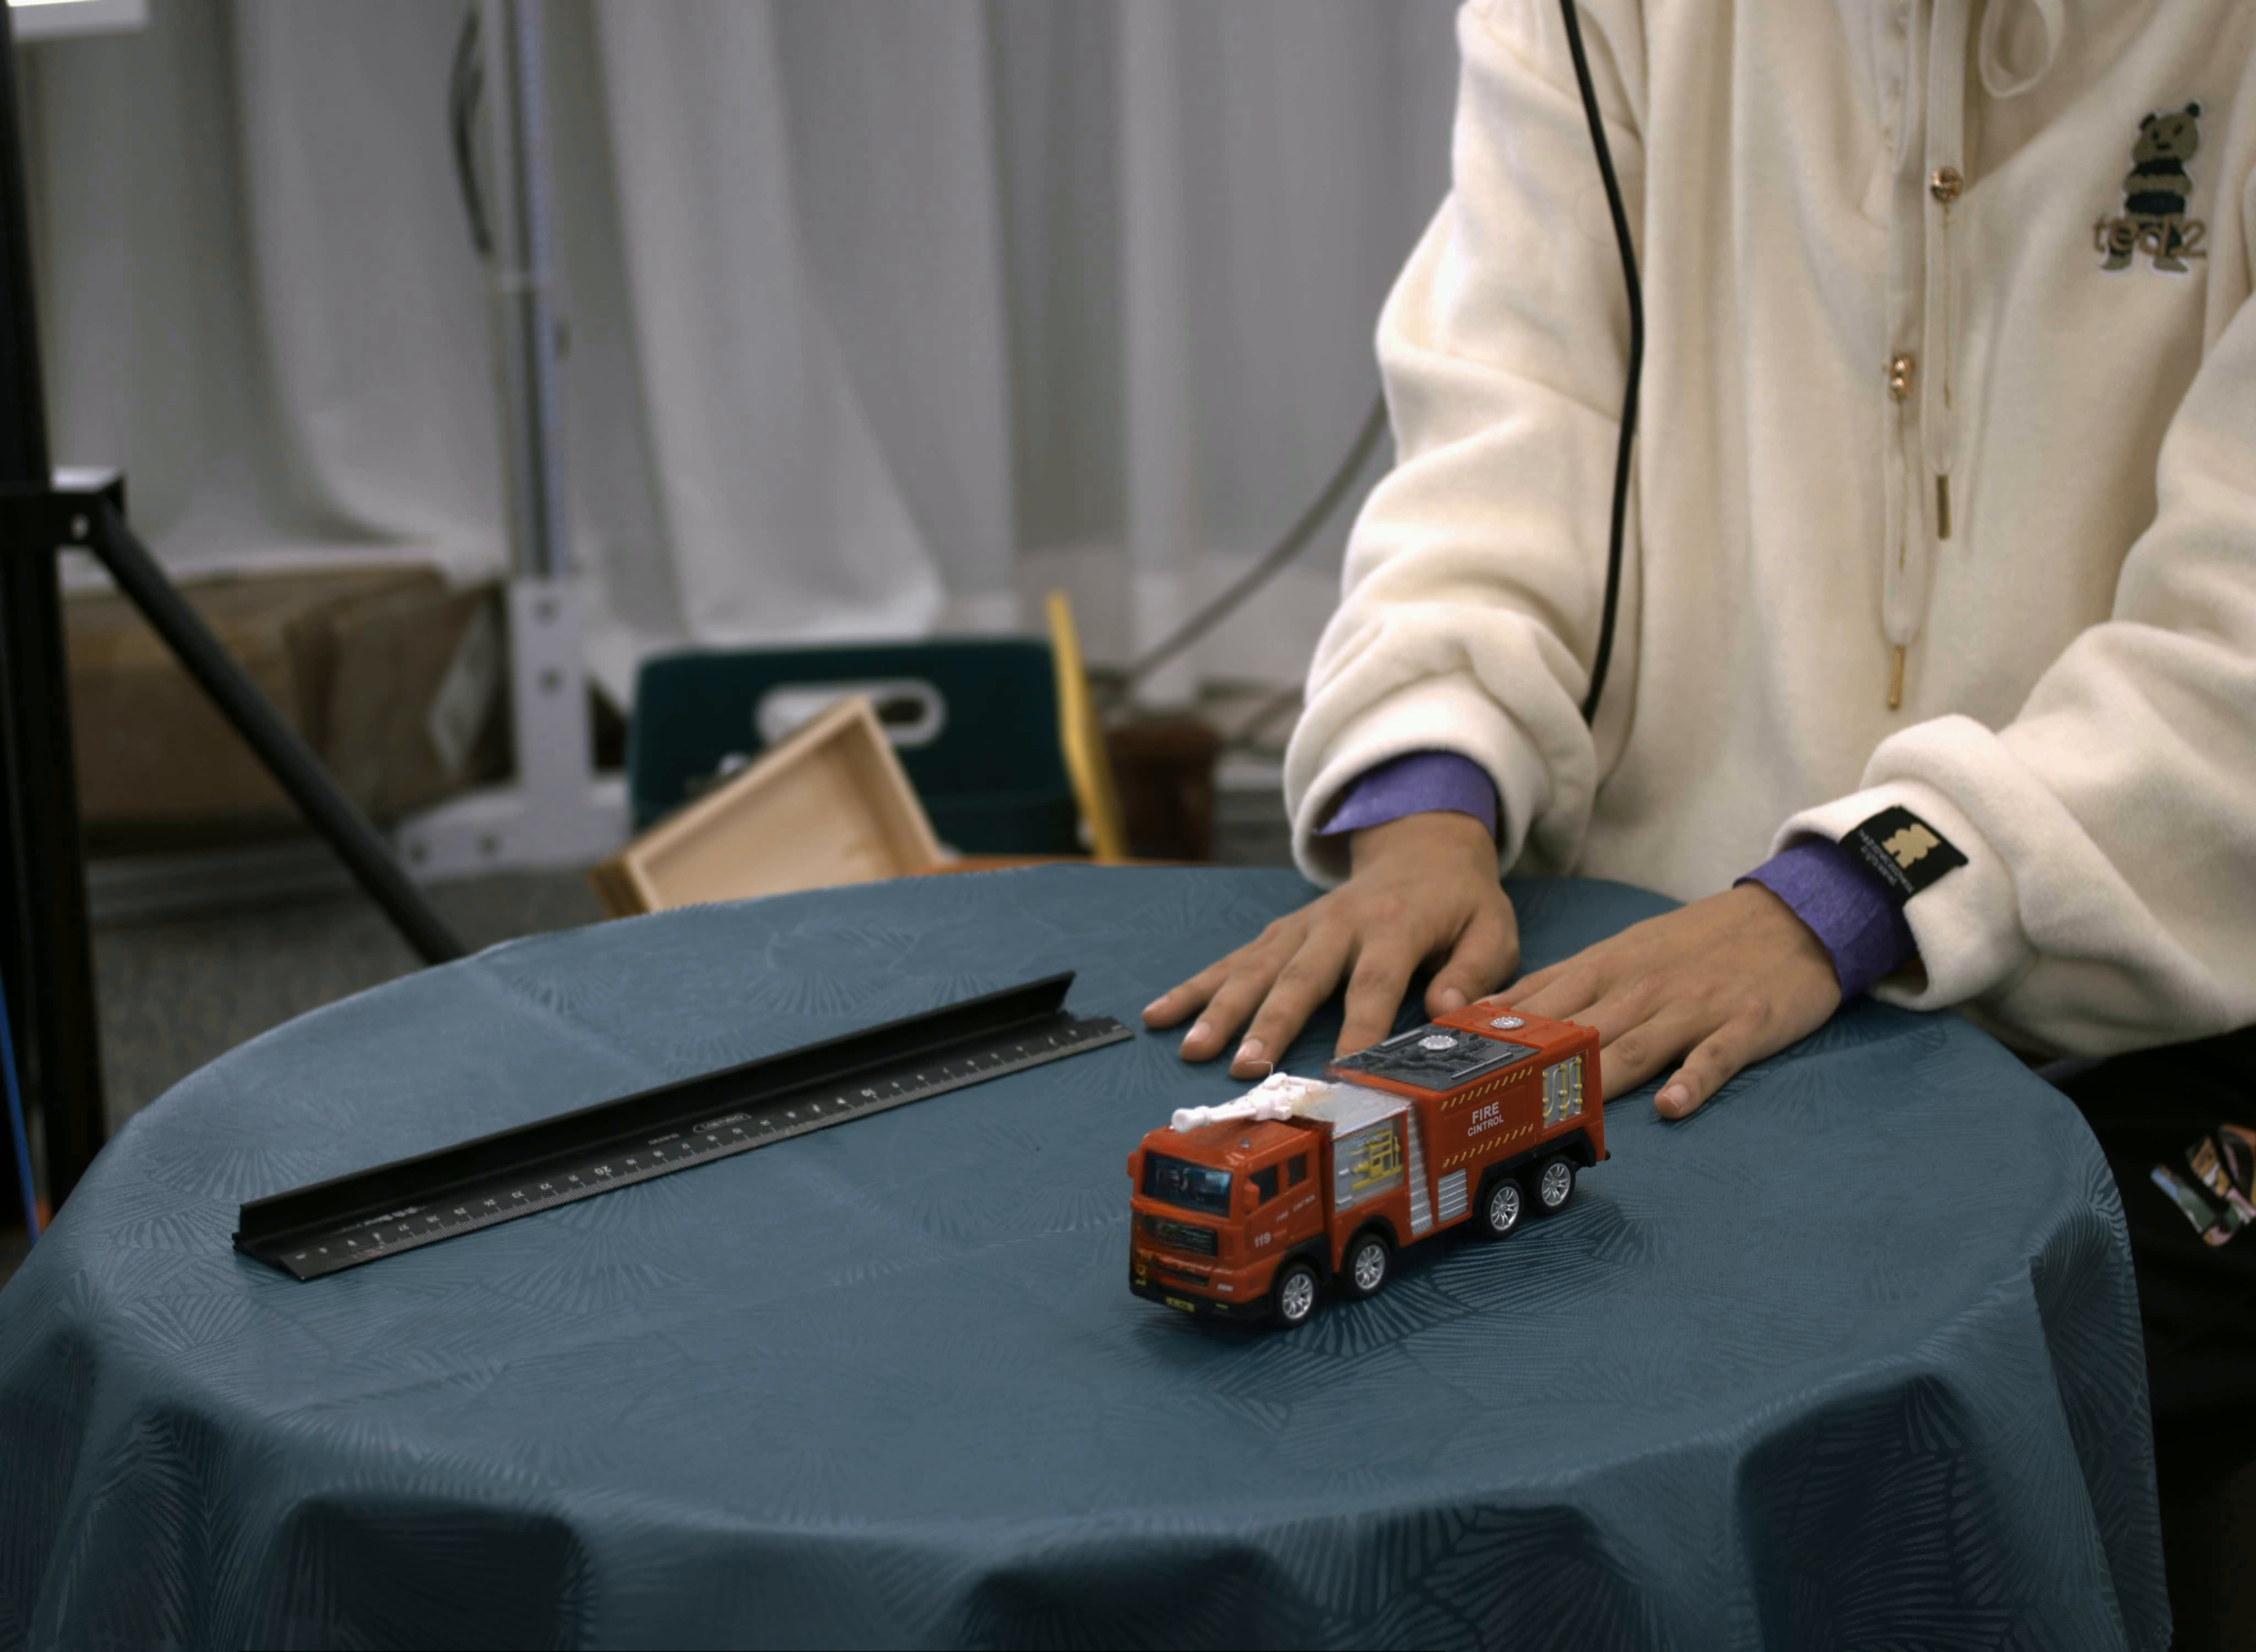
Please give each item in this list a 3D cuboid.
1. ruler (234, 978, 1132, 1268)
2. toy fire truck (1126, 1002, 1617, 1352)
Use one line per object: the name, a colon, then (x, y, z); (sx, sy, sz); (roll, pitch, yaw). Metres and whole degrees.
ruler: (-0.129, 0.088, 1.620); (0.305, 0.017, 0.040); (-14, 22, -35)
toy fire truck: (0.069, 0.095, 1.485); (0.055, 0.070, 0.164); (11, 19, 43)
